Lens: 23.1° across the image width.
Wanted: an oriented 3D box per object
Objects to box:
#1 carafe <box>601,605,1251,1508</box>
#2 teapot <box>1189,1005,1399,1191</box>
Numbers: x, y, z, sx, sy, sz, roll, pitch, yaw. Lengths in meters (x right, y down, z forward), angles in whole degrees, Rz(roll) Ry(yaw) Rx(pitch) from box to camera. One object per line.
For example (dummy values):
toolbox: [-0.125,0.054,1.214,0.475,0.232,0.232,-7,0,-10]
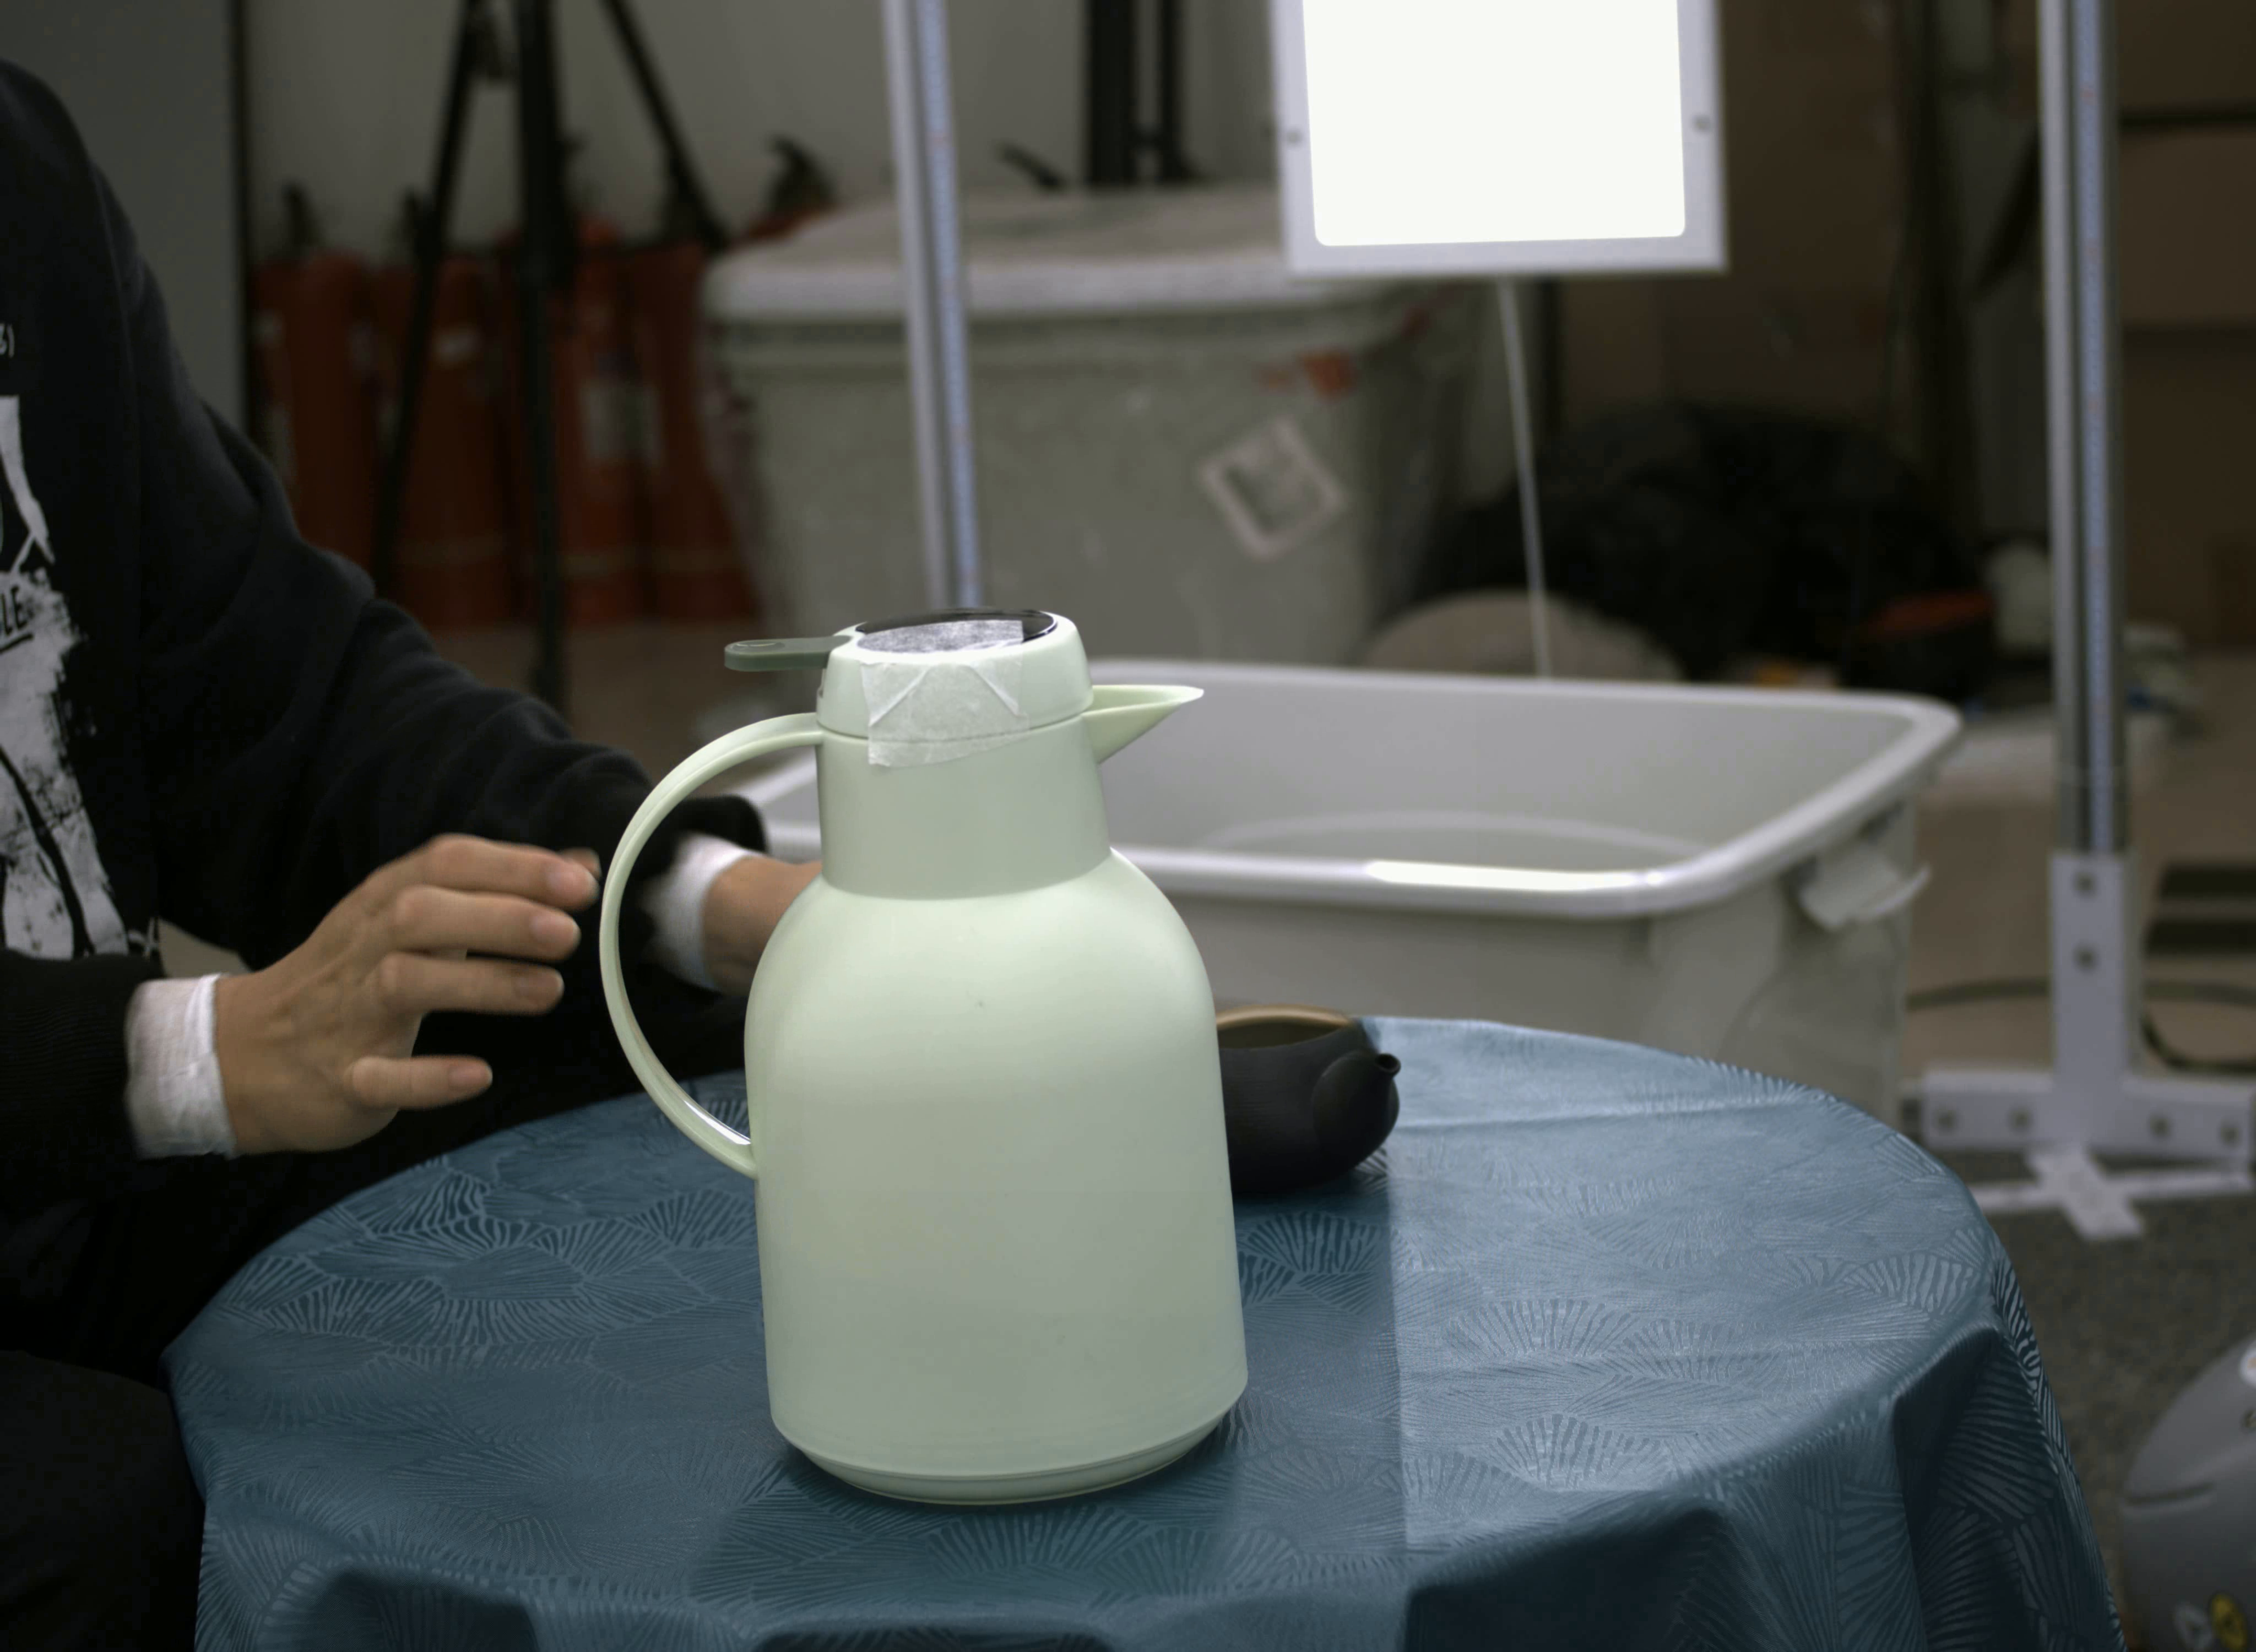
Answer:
carafe: [-0.058,0.066,1.644,0.186,0.257,0.144,-8,15,-1]
teapot: [0.048,0.094,1.902,0.088,0.053,0.136,-14,17,-38]
